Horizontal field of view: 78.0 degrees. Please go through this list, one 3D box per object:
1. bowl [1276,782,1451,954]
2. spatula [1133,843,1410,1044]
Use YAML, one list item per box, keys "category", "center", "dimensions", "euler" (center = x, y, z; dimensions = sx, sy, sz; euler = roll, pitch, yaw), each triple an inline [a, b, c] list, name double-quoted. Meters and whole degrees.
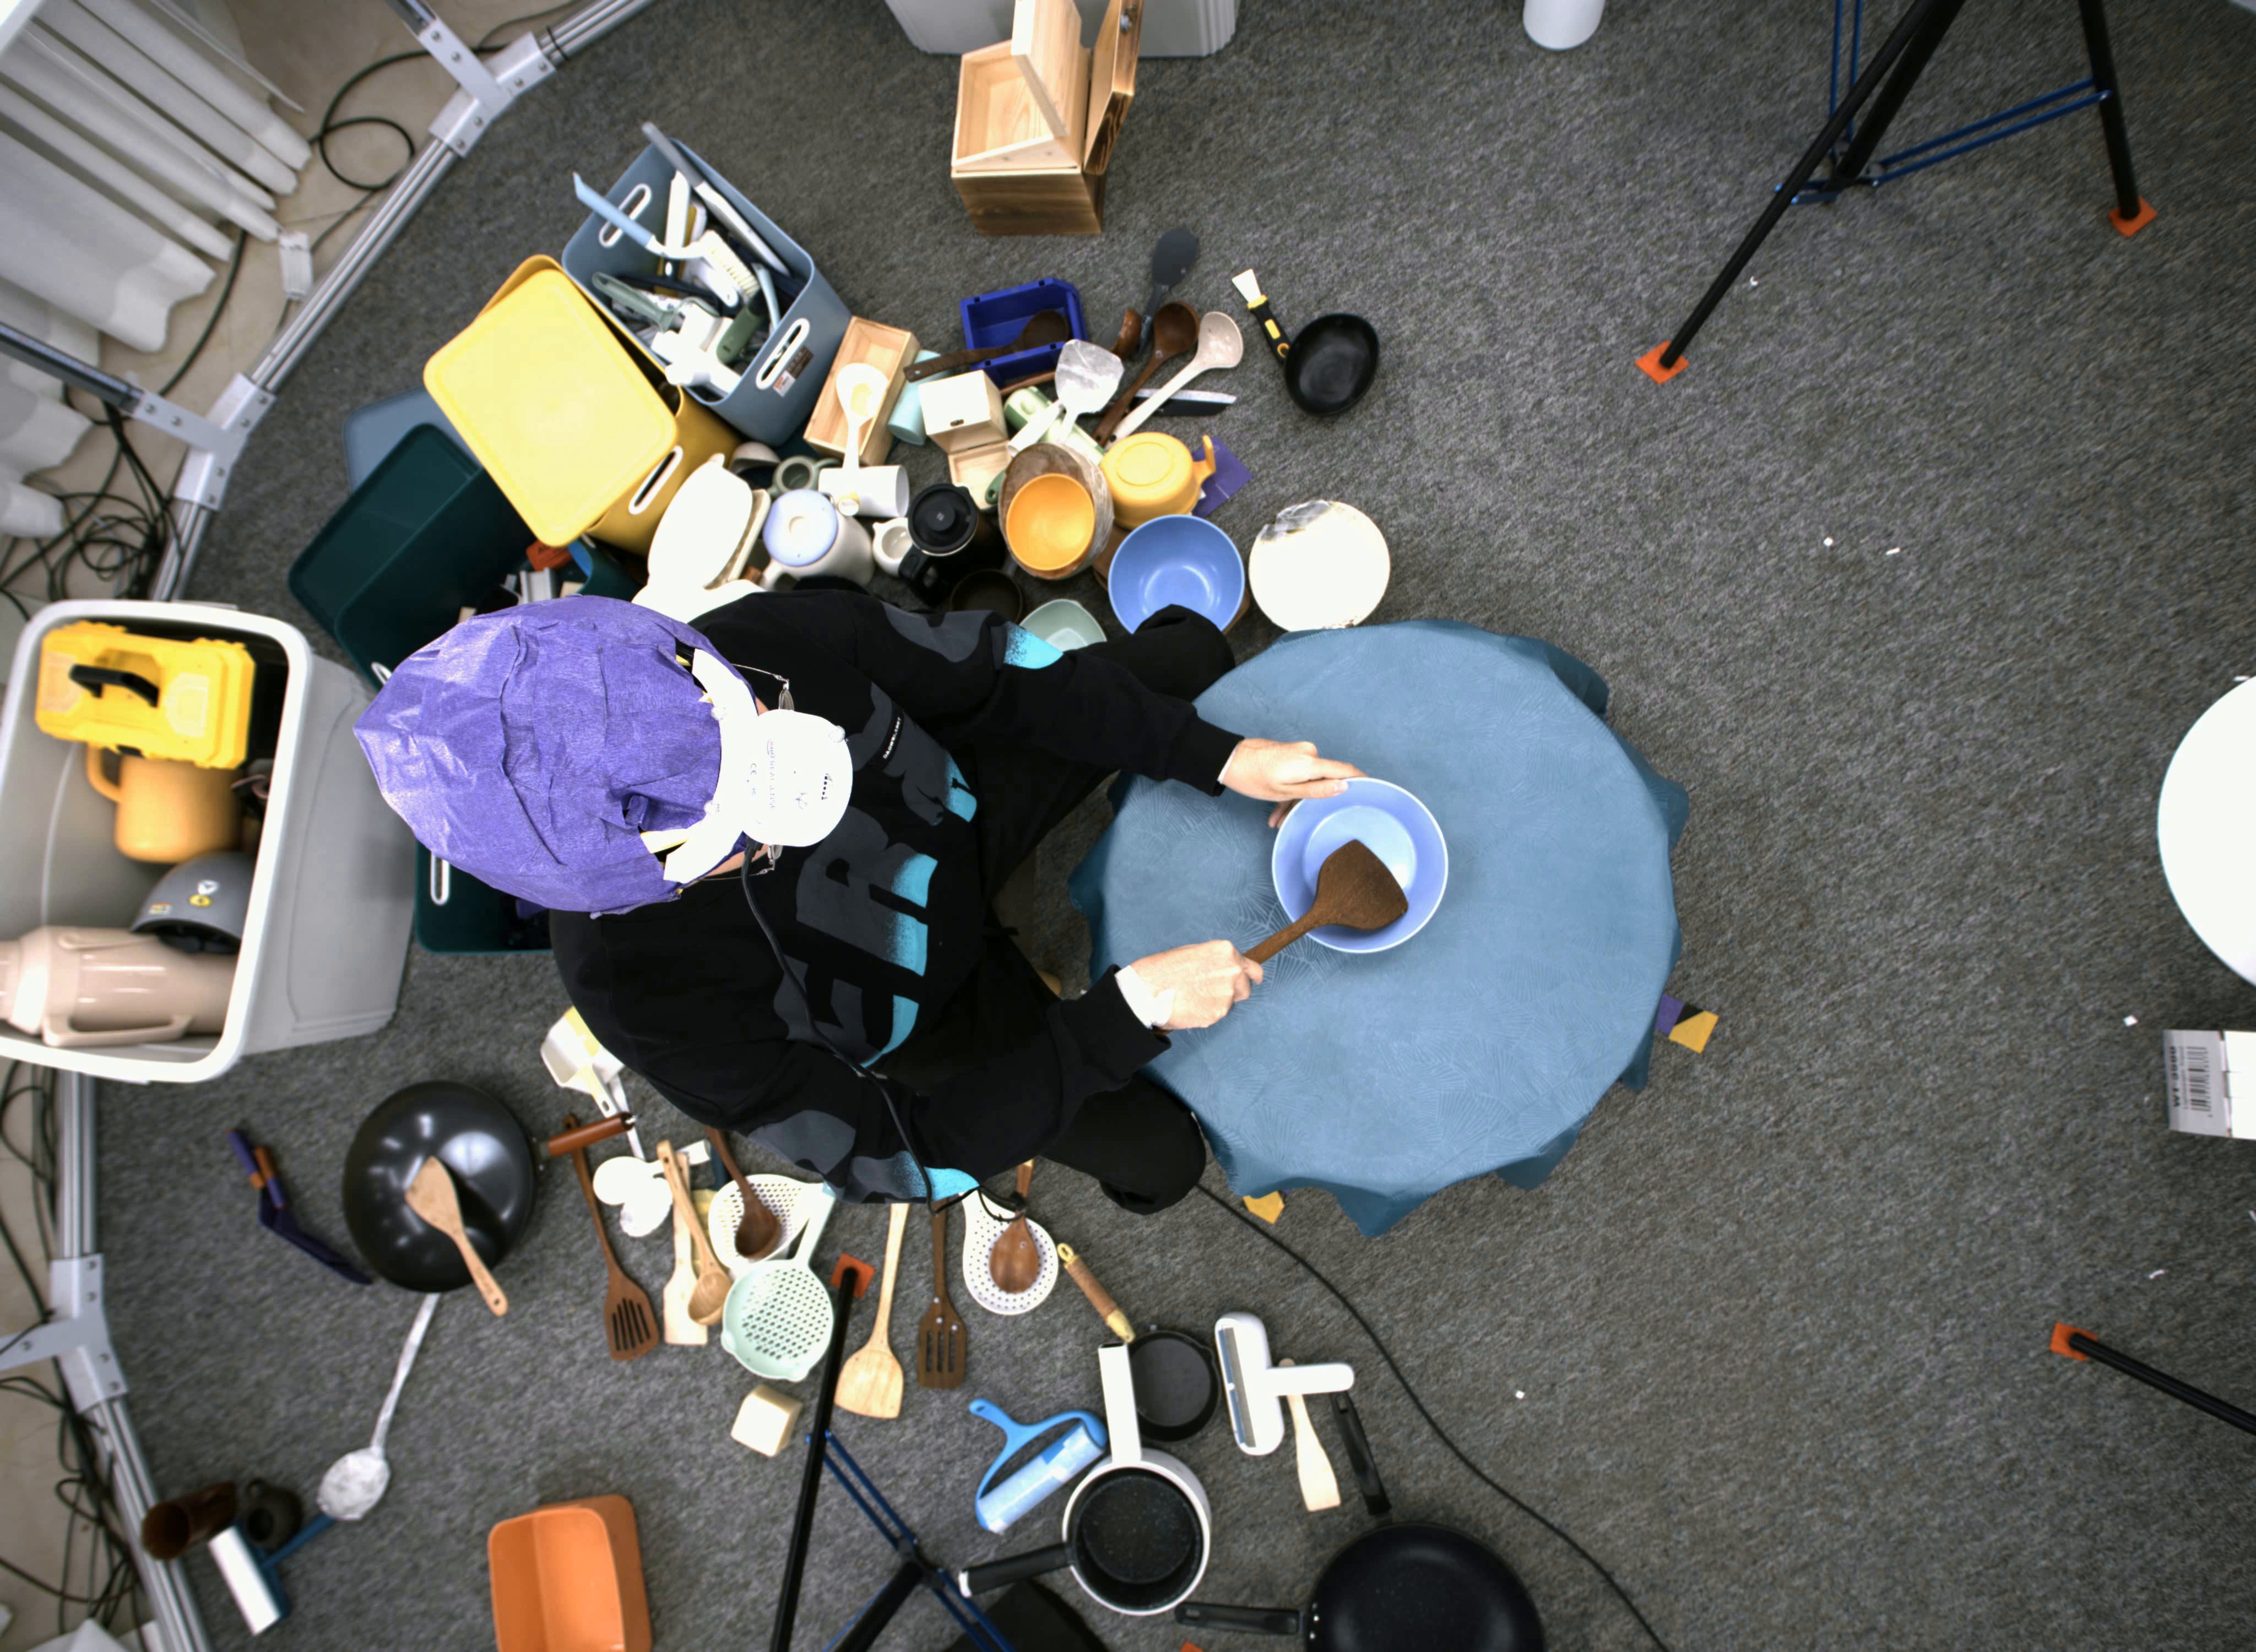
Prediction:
- category: "bowl"
  center: [0.242, 0.039, 1.423]
  dimensions: [0.177, 0.069, 0.177]
  euler: [1, 98, 11]
- category: "spatula"
  center: [0.141, 0.116, 1.325]
  dimensions: [0.095, 0.379, 0.016]
  euler: [54, 140, 11]
